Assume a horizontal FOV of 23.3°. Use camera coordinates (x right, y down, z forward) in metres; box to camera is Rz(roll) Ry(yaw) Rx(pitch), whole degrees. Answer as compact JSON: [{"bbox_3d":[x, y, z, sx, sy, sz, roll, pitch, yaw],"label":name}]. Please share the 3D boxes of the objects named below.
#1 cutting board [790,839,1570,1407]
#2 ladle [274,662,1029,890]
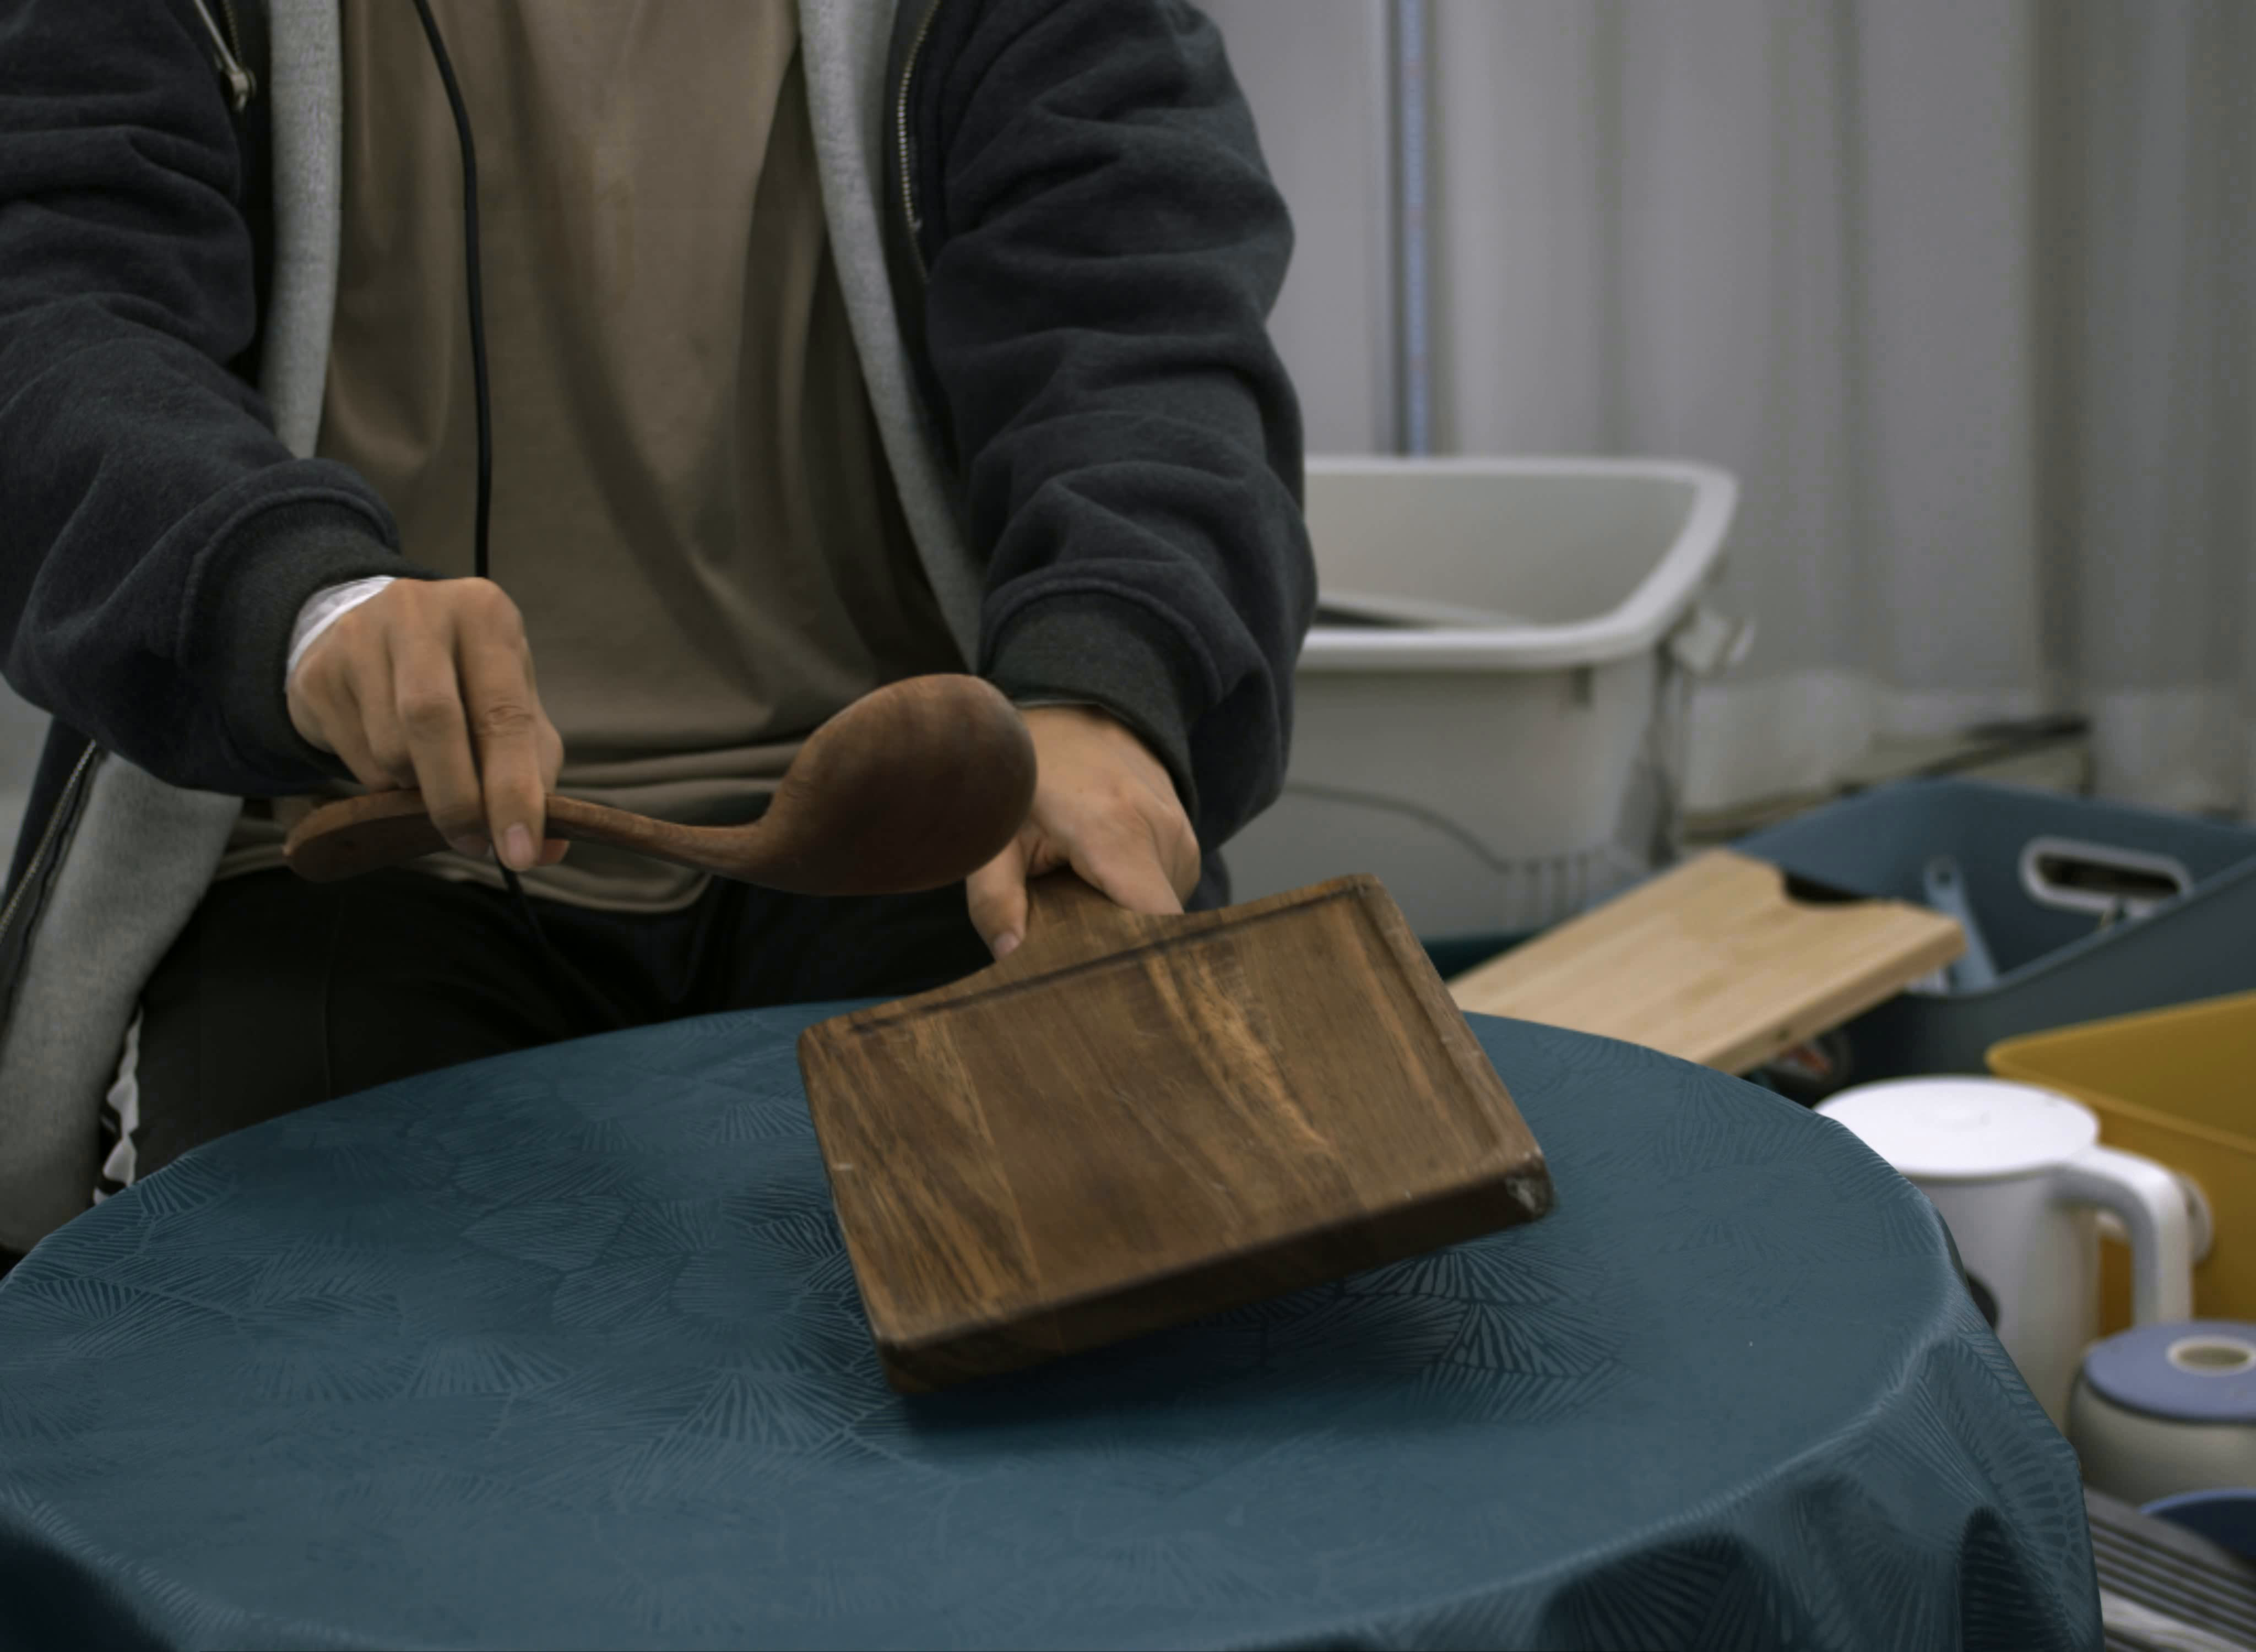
[{"bbox_3d":[0.001,0.072,1.681,0.200,0.023,0.355,-15,21,-4],"label":"cutting board"},{"bbox_3d":[-0.147,-0.012,1.648,0.260,0.075,0.066,0,54,33],"label":"ladle"}]
